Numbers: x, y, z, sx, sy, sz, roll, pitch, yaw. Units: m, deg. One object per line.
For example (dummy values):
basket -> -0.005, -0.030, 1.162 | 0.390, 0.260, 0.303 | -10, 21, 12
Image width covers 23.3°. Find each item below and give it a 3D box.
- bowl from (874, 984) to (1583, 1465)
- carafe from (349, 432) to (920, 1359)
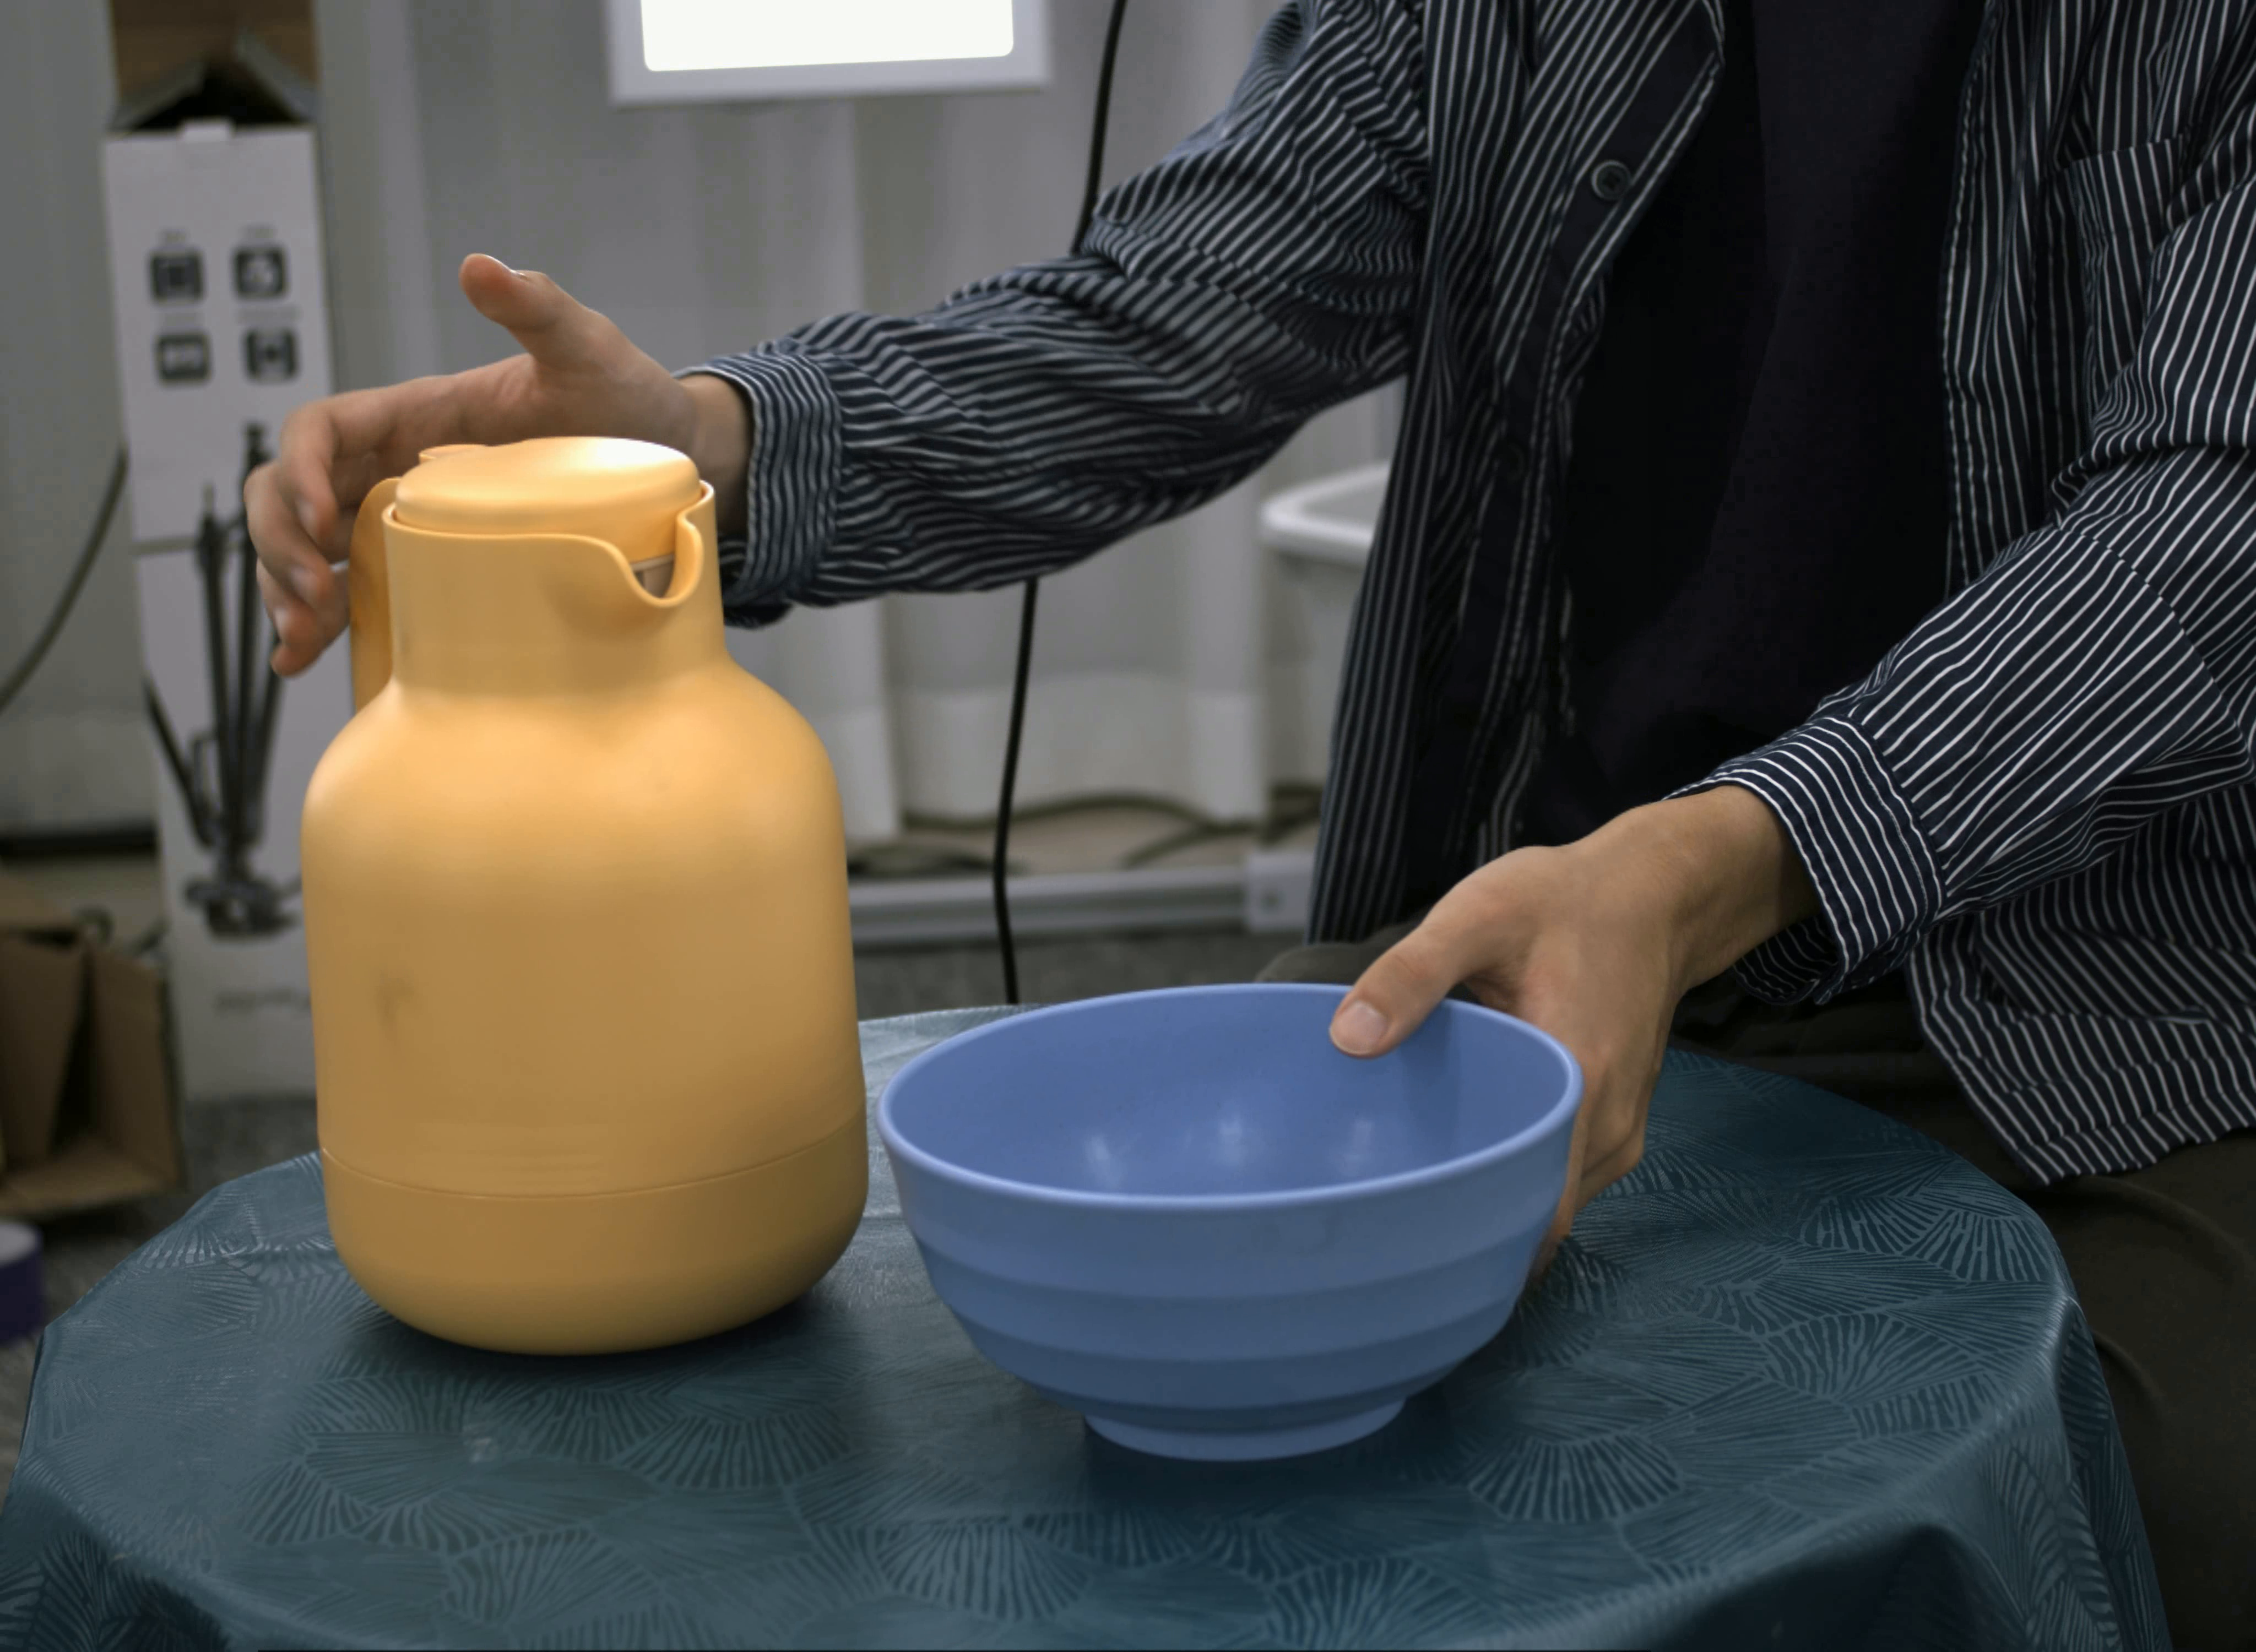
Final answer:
bowl -> 0.030, 0.117, 1.521 | 0.196, 0.095, 0.198 | -3, 15, 1
carafe -> -0.157, 0.013, 1.630 | 0.163, 0.259, 0.204 | -12, 16, -31
